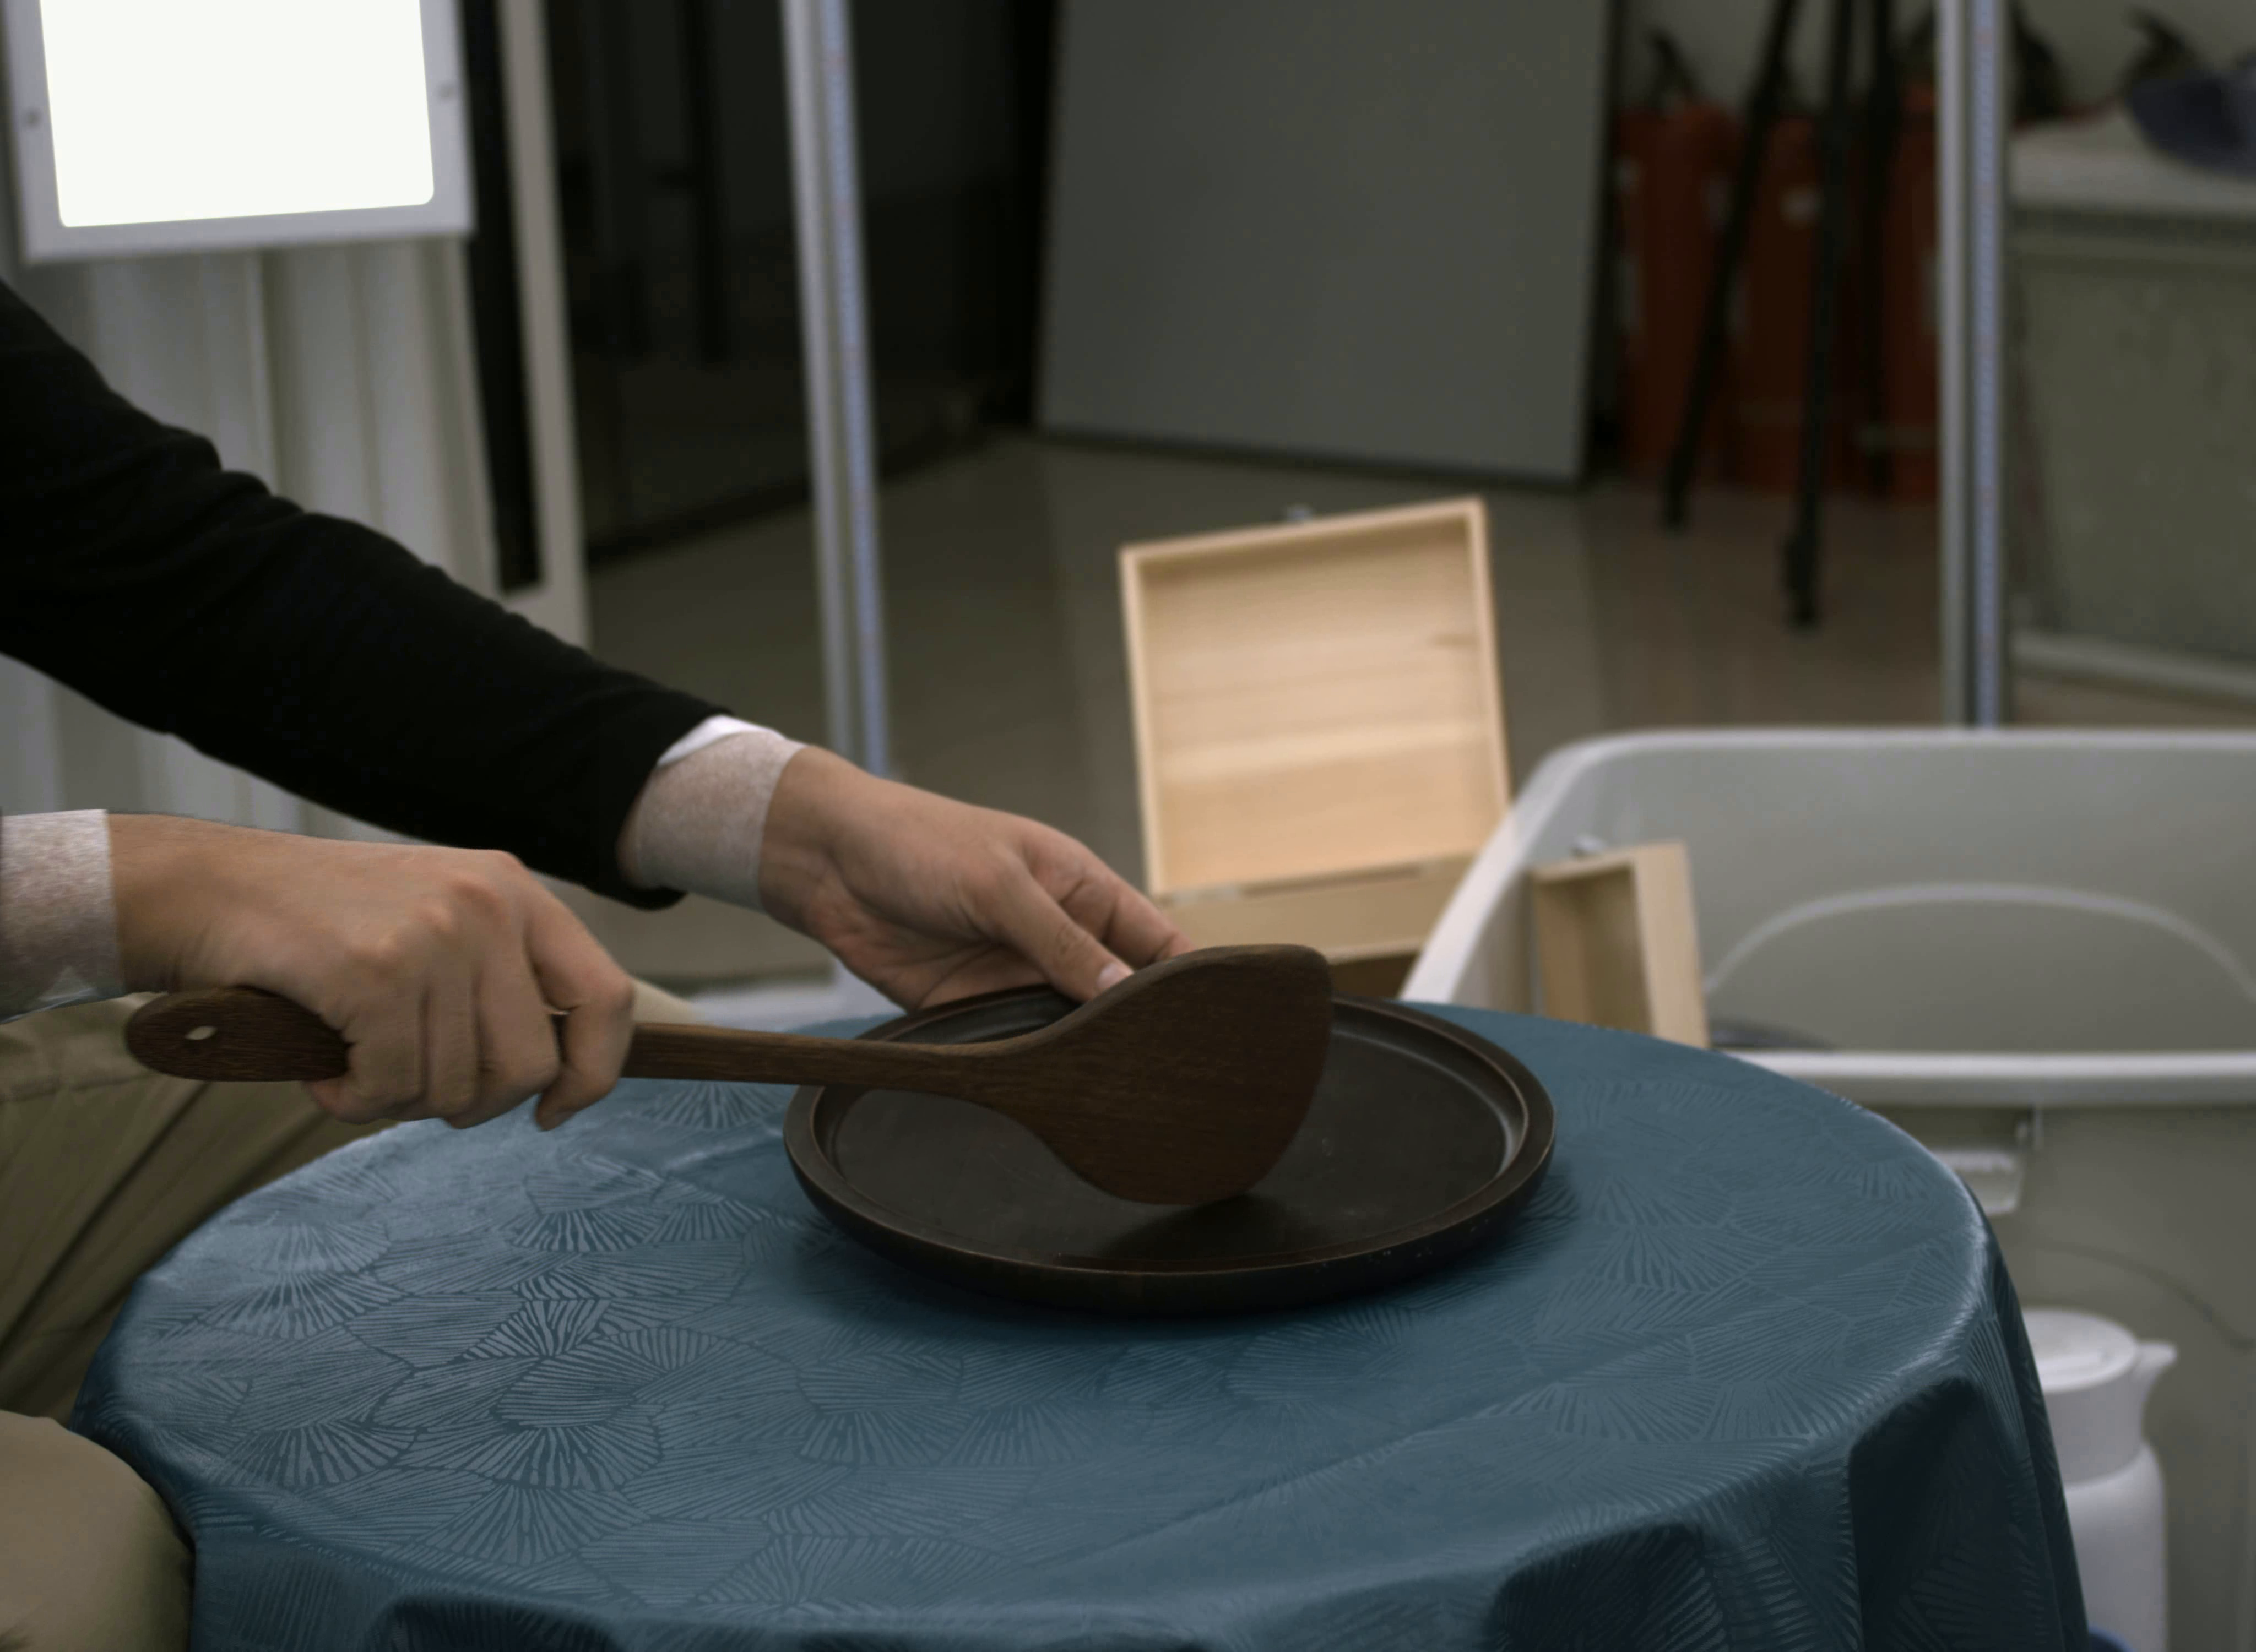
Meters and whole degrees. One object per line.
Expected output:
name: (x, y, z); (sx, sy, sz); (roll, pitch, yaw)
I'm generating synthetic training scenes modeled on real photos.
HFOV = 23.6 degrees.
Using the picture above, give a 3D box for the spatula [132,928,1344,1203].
spatula: (-0.109, 0.065, 1.610); (0.377, 0.097, 0.016); (4, 26, -23)

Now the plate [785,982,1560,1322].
plate: (0.014, 0.102, 1.742); (0.251, 0.029, 0.255); (-1, 20, -1)
